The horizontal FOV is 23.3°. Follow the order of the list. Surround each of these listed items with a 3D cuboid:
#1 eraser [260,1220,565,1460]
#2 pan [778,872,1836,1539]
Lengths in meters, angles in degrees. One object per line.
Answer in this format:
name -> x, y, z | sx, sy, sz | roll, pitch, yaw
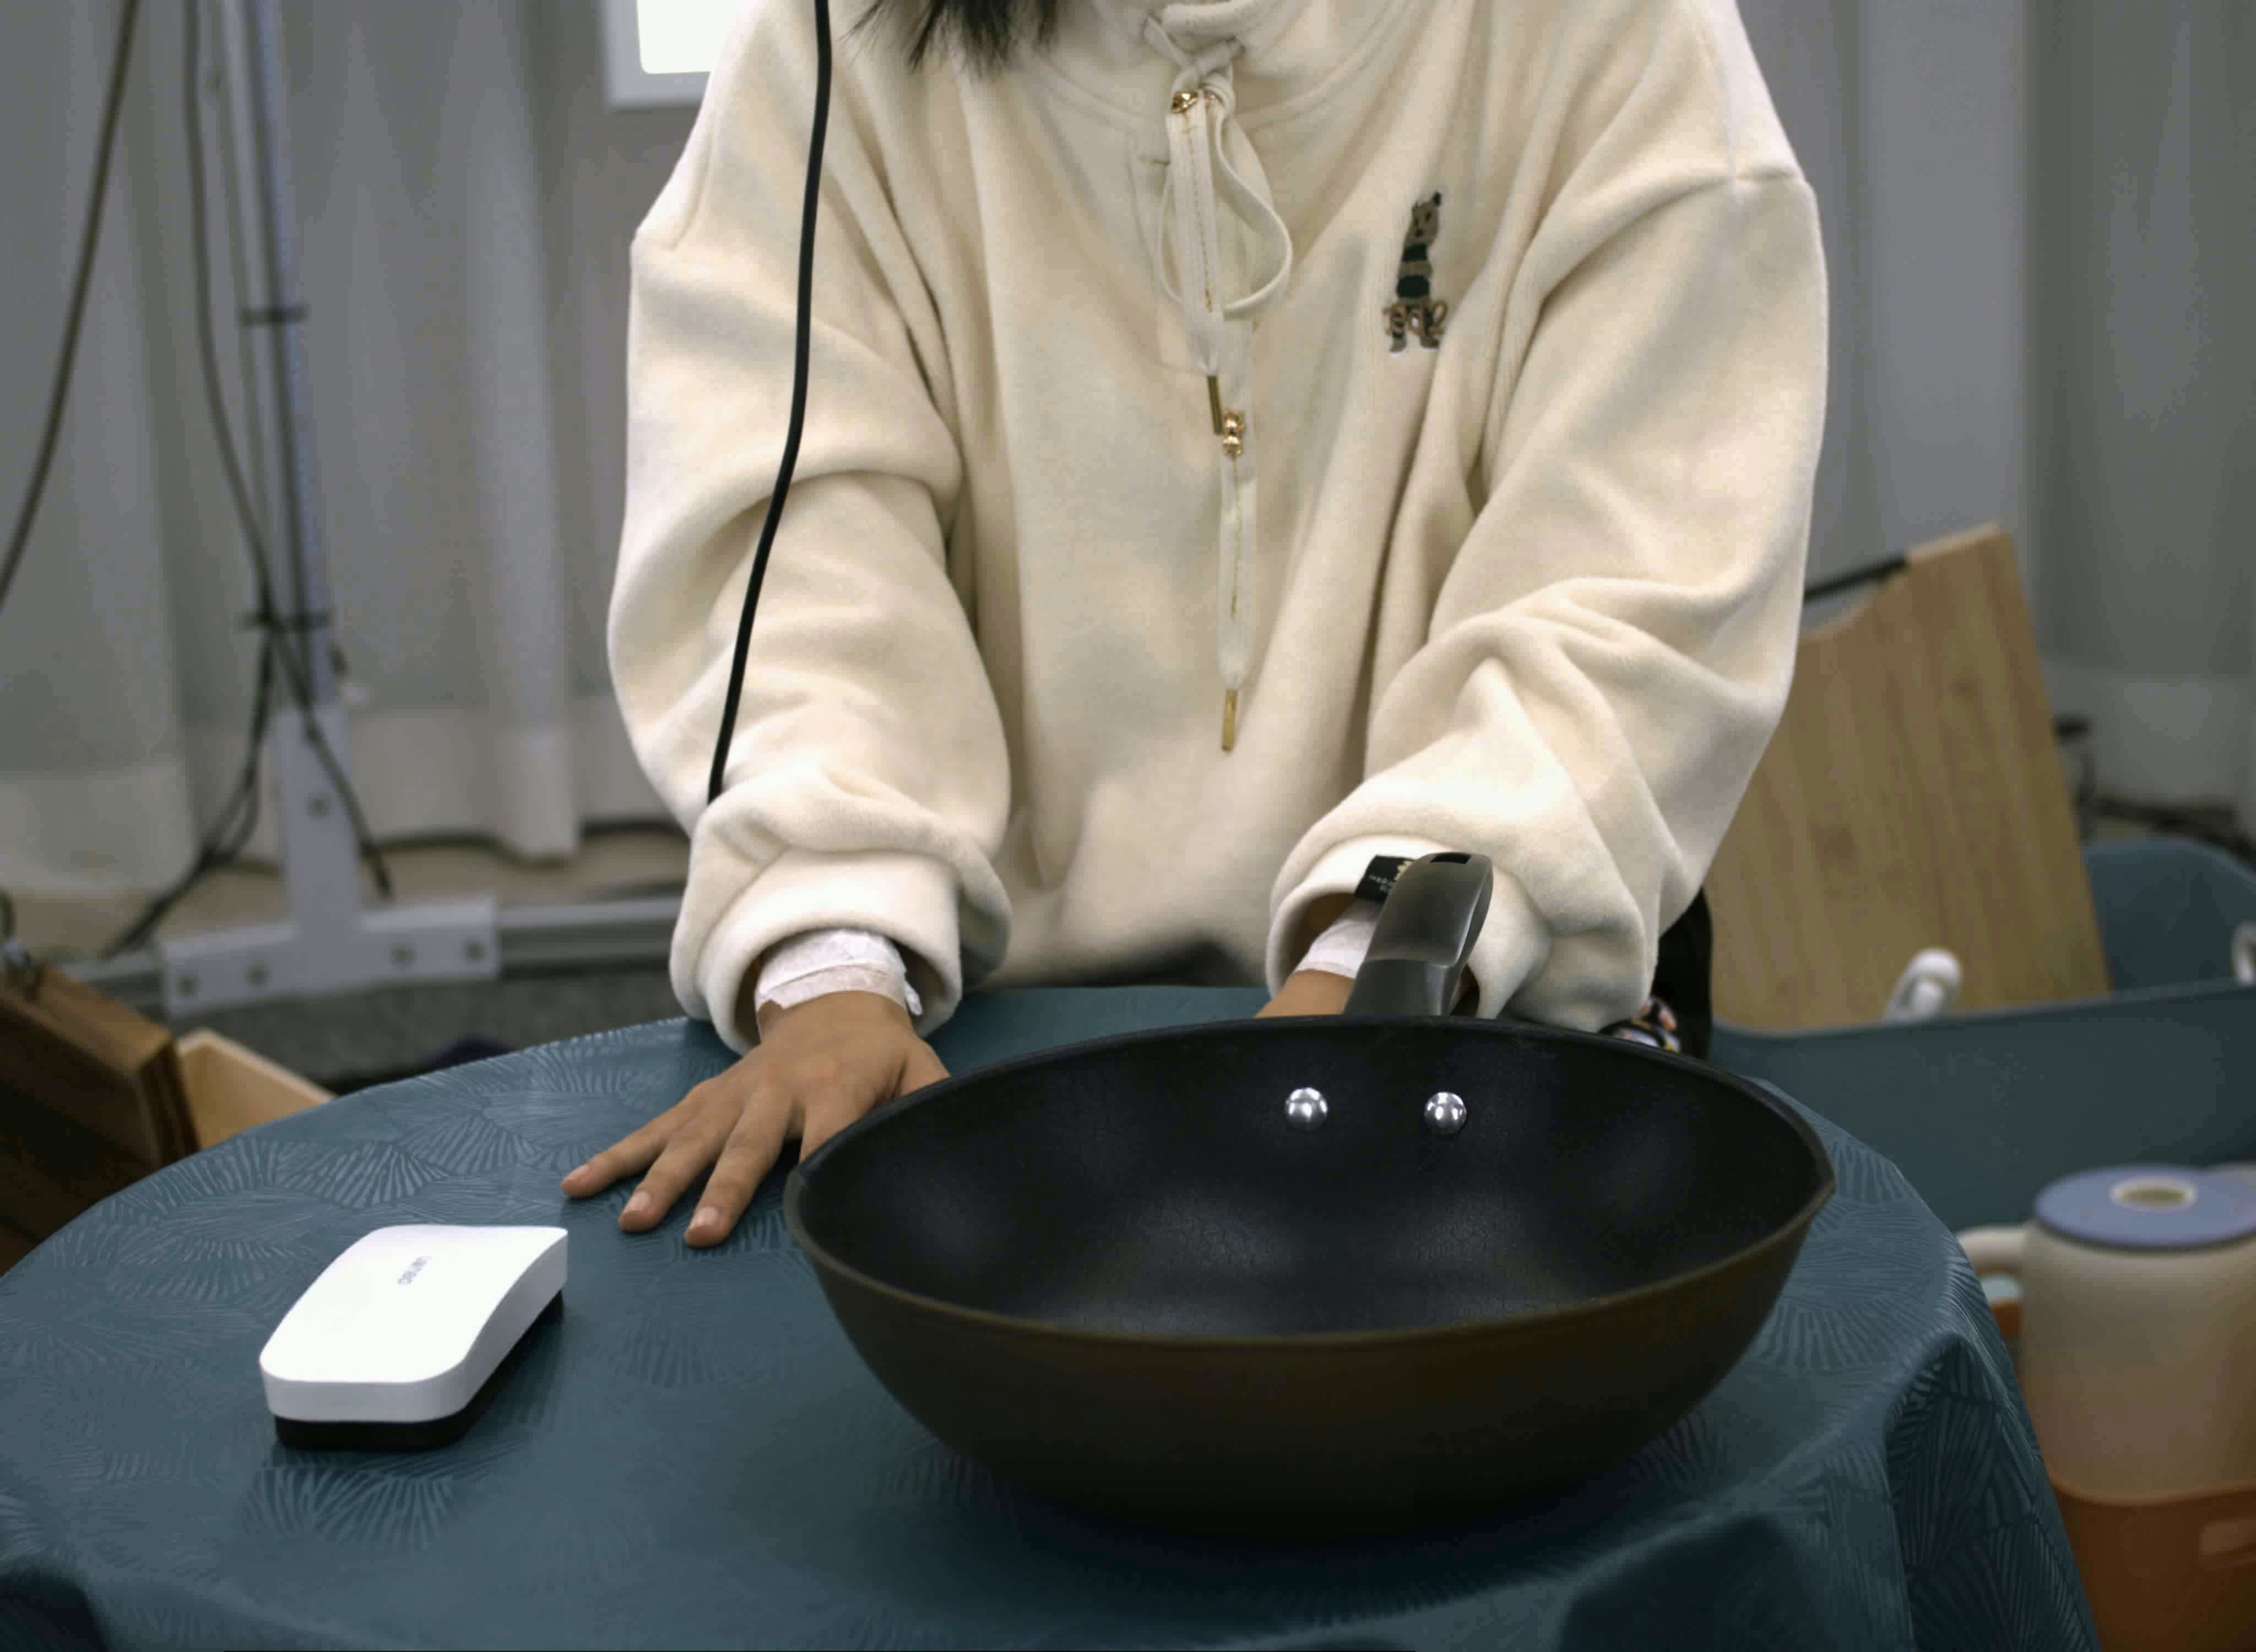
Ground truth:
eraser -> -0.204, 0.145, 1.584 | 0.063, 0.034, 0.132 | 3, 16, 10
pan -> 0.066, 0.106, 1.574 | 0.288, 0.086, 0.465 | 1, 14, 12
